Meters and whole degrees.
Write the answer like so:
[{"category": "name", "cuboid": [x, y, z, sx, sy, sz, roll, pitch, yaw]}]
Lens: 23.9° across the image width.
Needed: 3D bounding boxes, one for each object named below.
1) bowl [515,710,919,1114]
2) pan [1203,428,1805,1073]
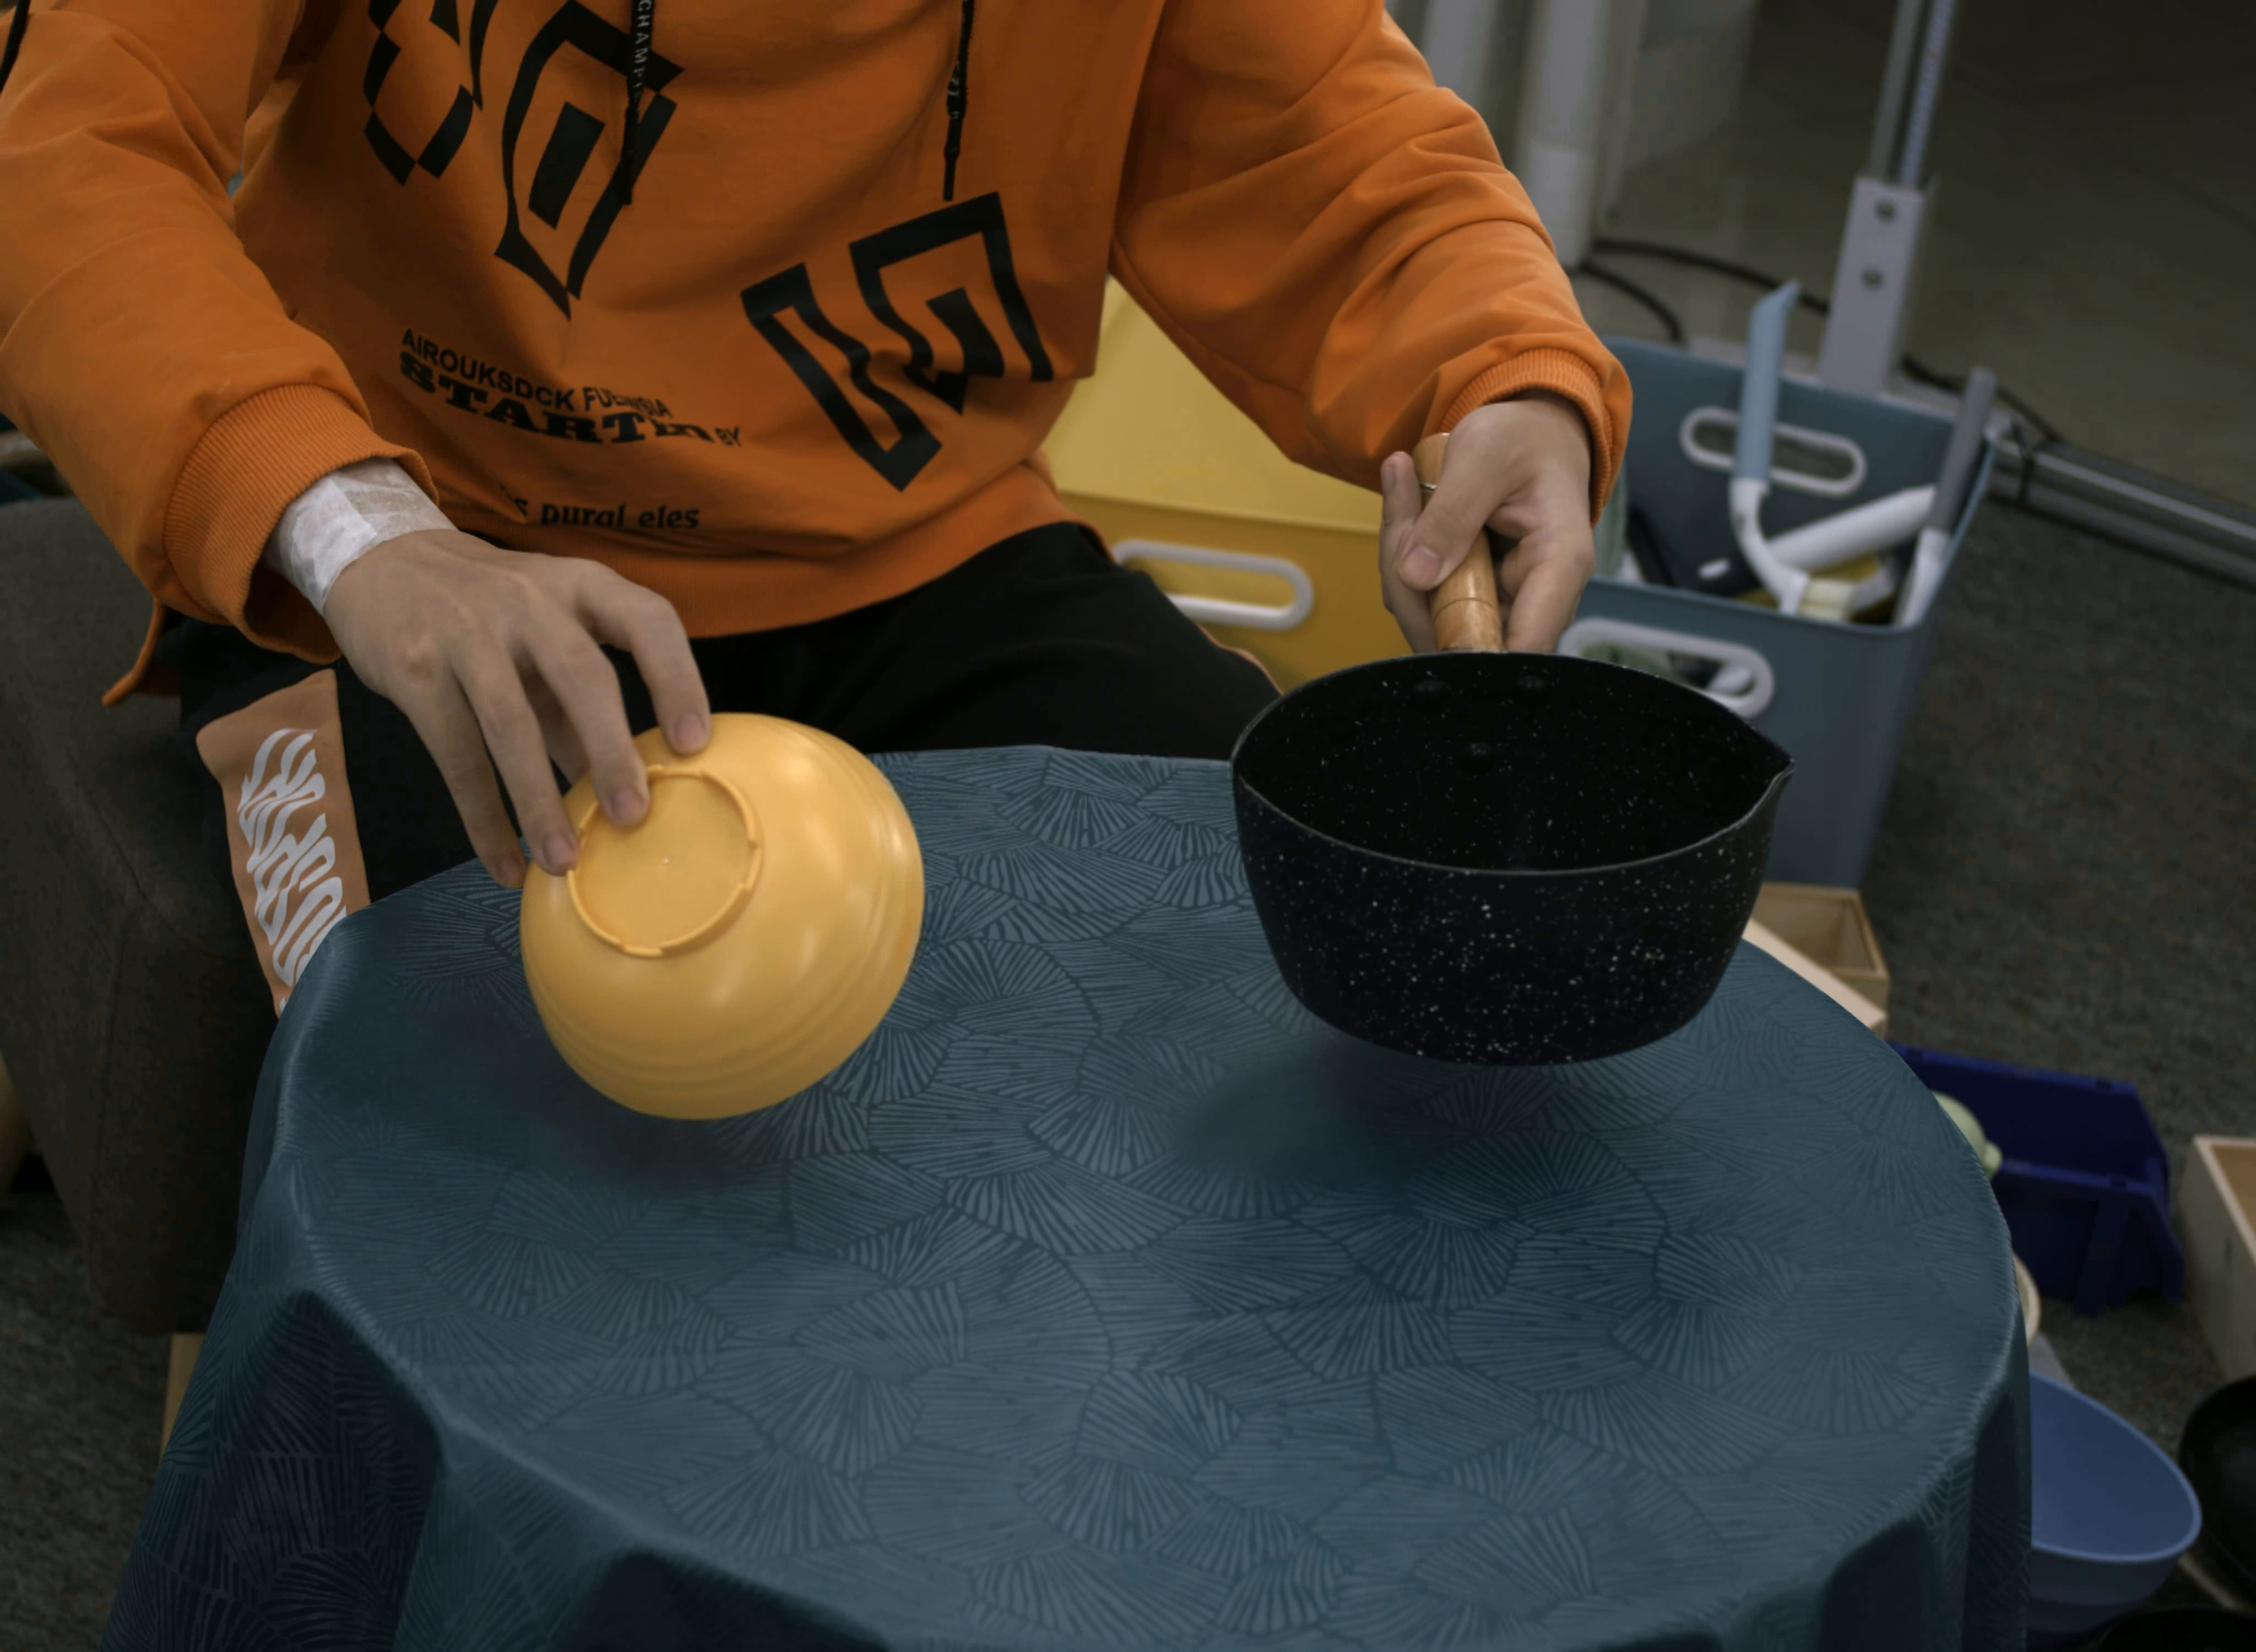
[{"category": "bowl", "cuboid": [-0.146, 0.019, 1.769, 0.145, 0.059, 0.146, -7, 64, 15]}, {"category": "pan", "cuboid": [0.126, -0.031, 1.912, 0.207, 0.108, 0.345, -2, 26, -2]}]
